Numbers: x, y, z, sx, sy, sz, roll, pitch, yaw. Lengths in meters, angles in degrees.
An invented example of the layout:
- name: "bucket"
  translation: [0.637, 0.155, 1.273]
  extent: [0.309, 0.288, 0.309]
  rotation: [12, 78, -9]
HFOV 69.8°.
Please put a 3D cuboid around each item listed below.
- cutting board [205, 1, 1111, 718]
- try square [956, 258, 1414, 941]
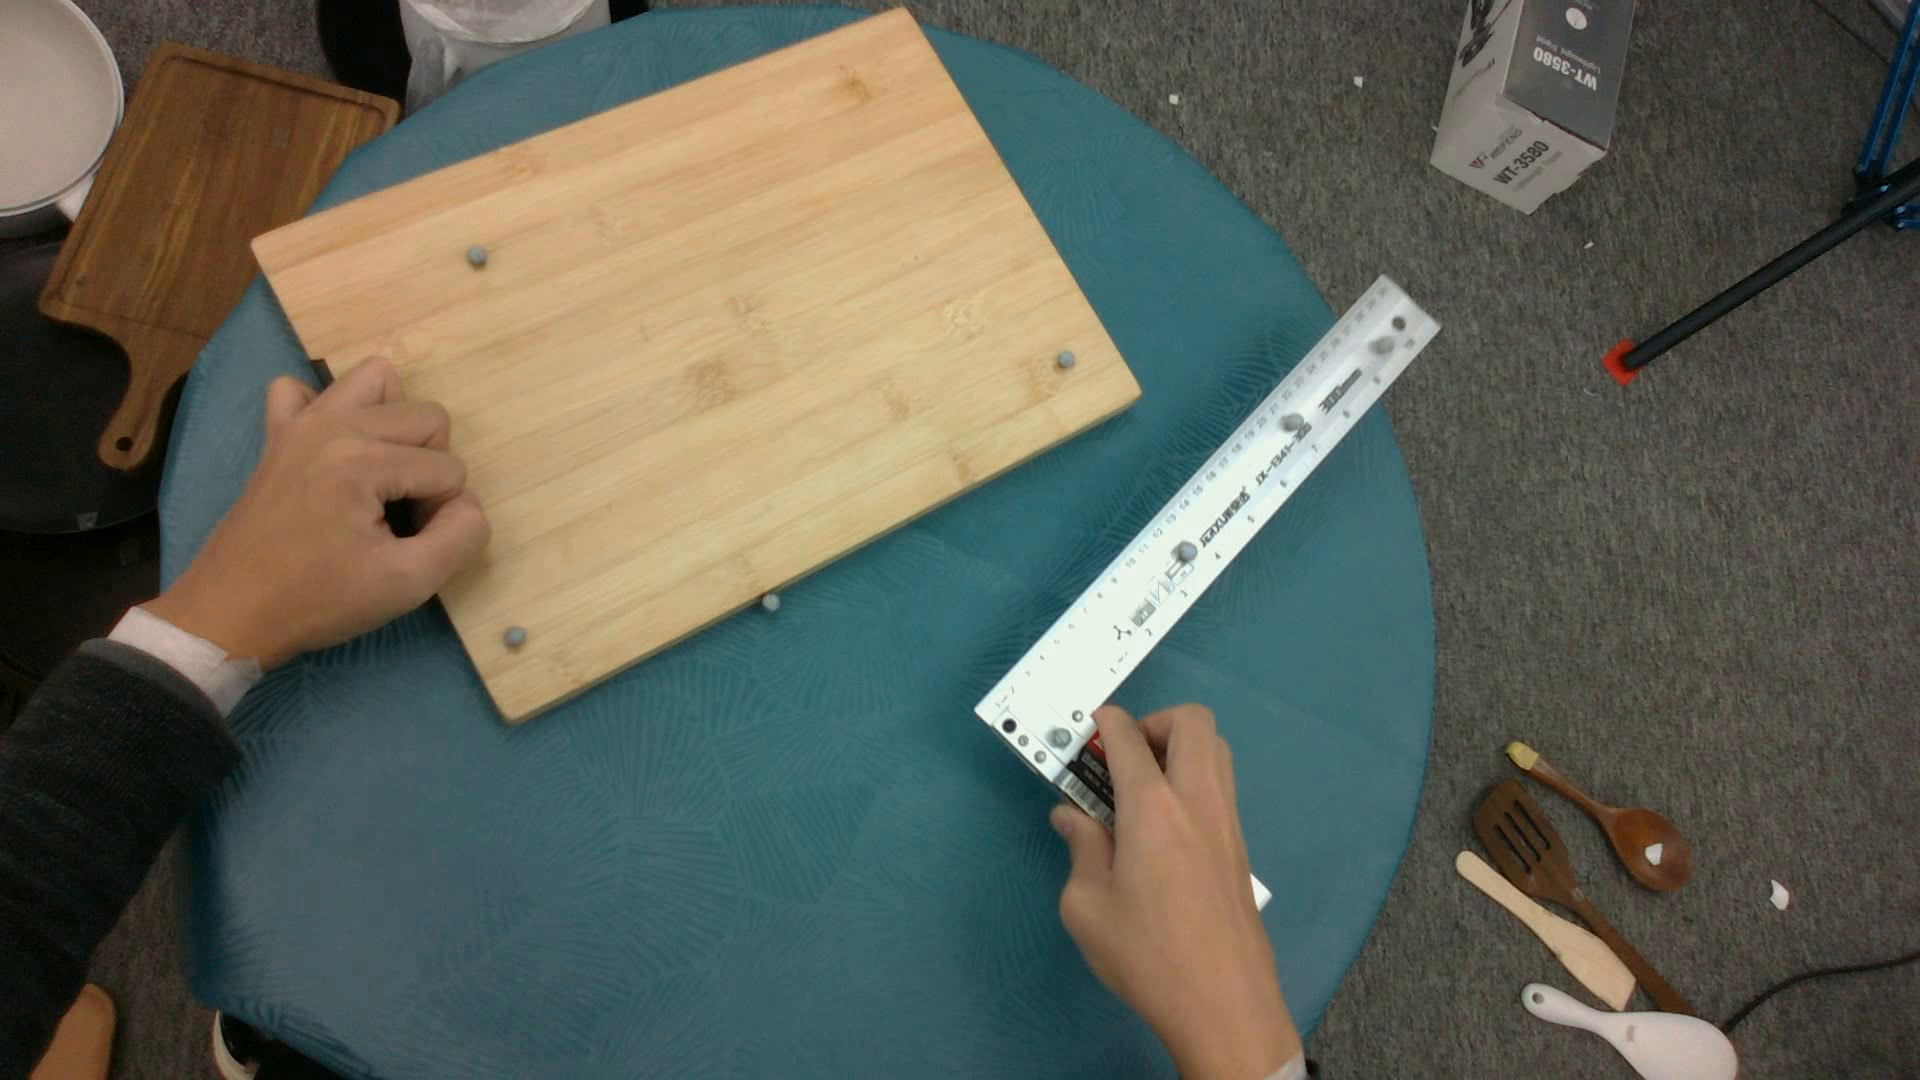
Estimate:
- name: "cutting board"
  translation: [-0.123, -0.104, 0.650]
  extent: [0.350, 0.023, 0.251]
  rotation: [-29, 83, -23]
- name: "try square"
  translation: [0.152, 0.017, 0.647]
  extent: [0.152, 0.016, 0.314]
  rotation: [44, 72, -1]
